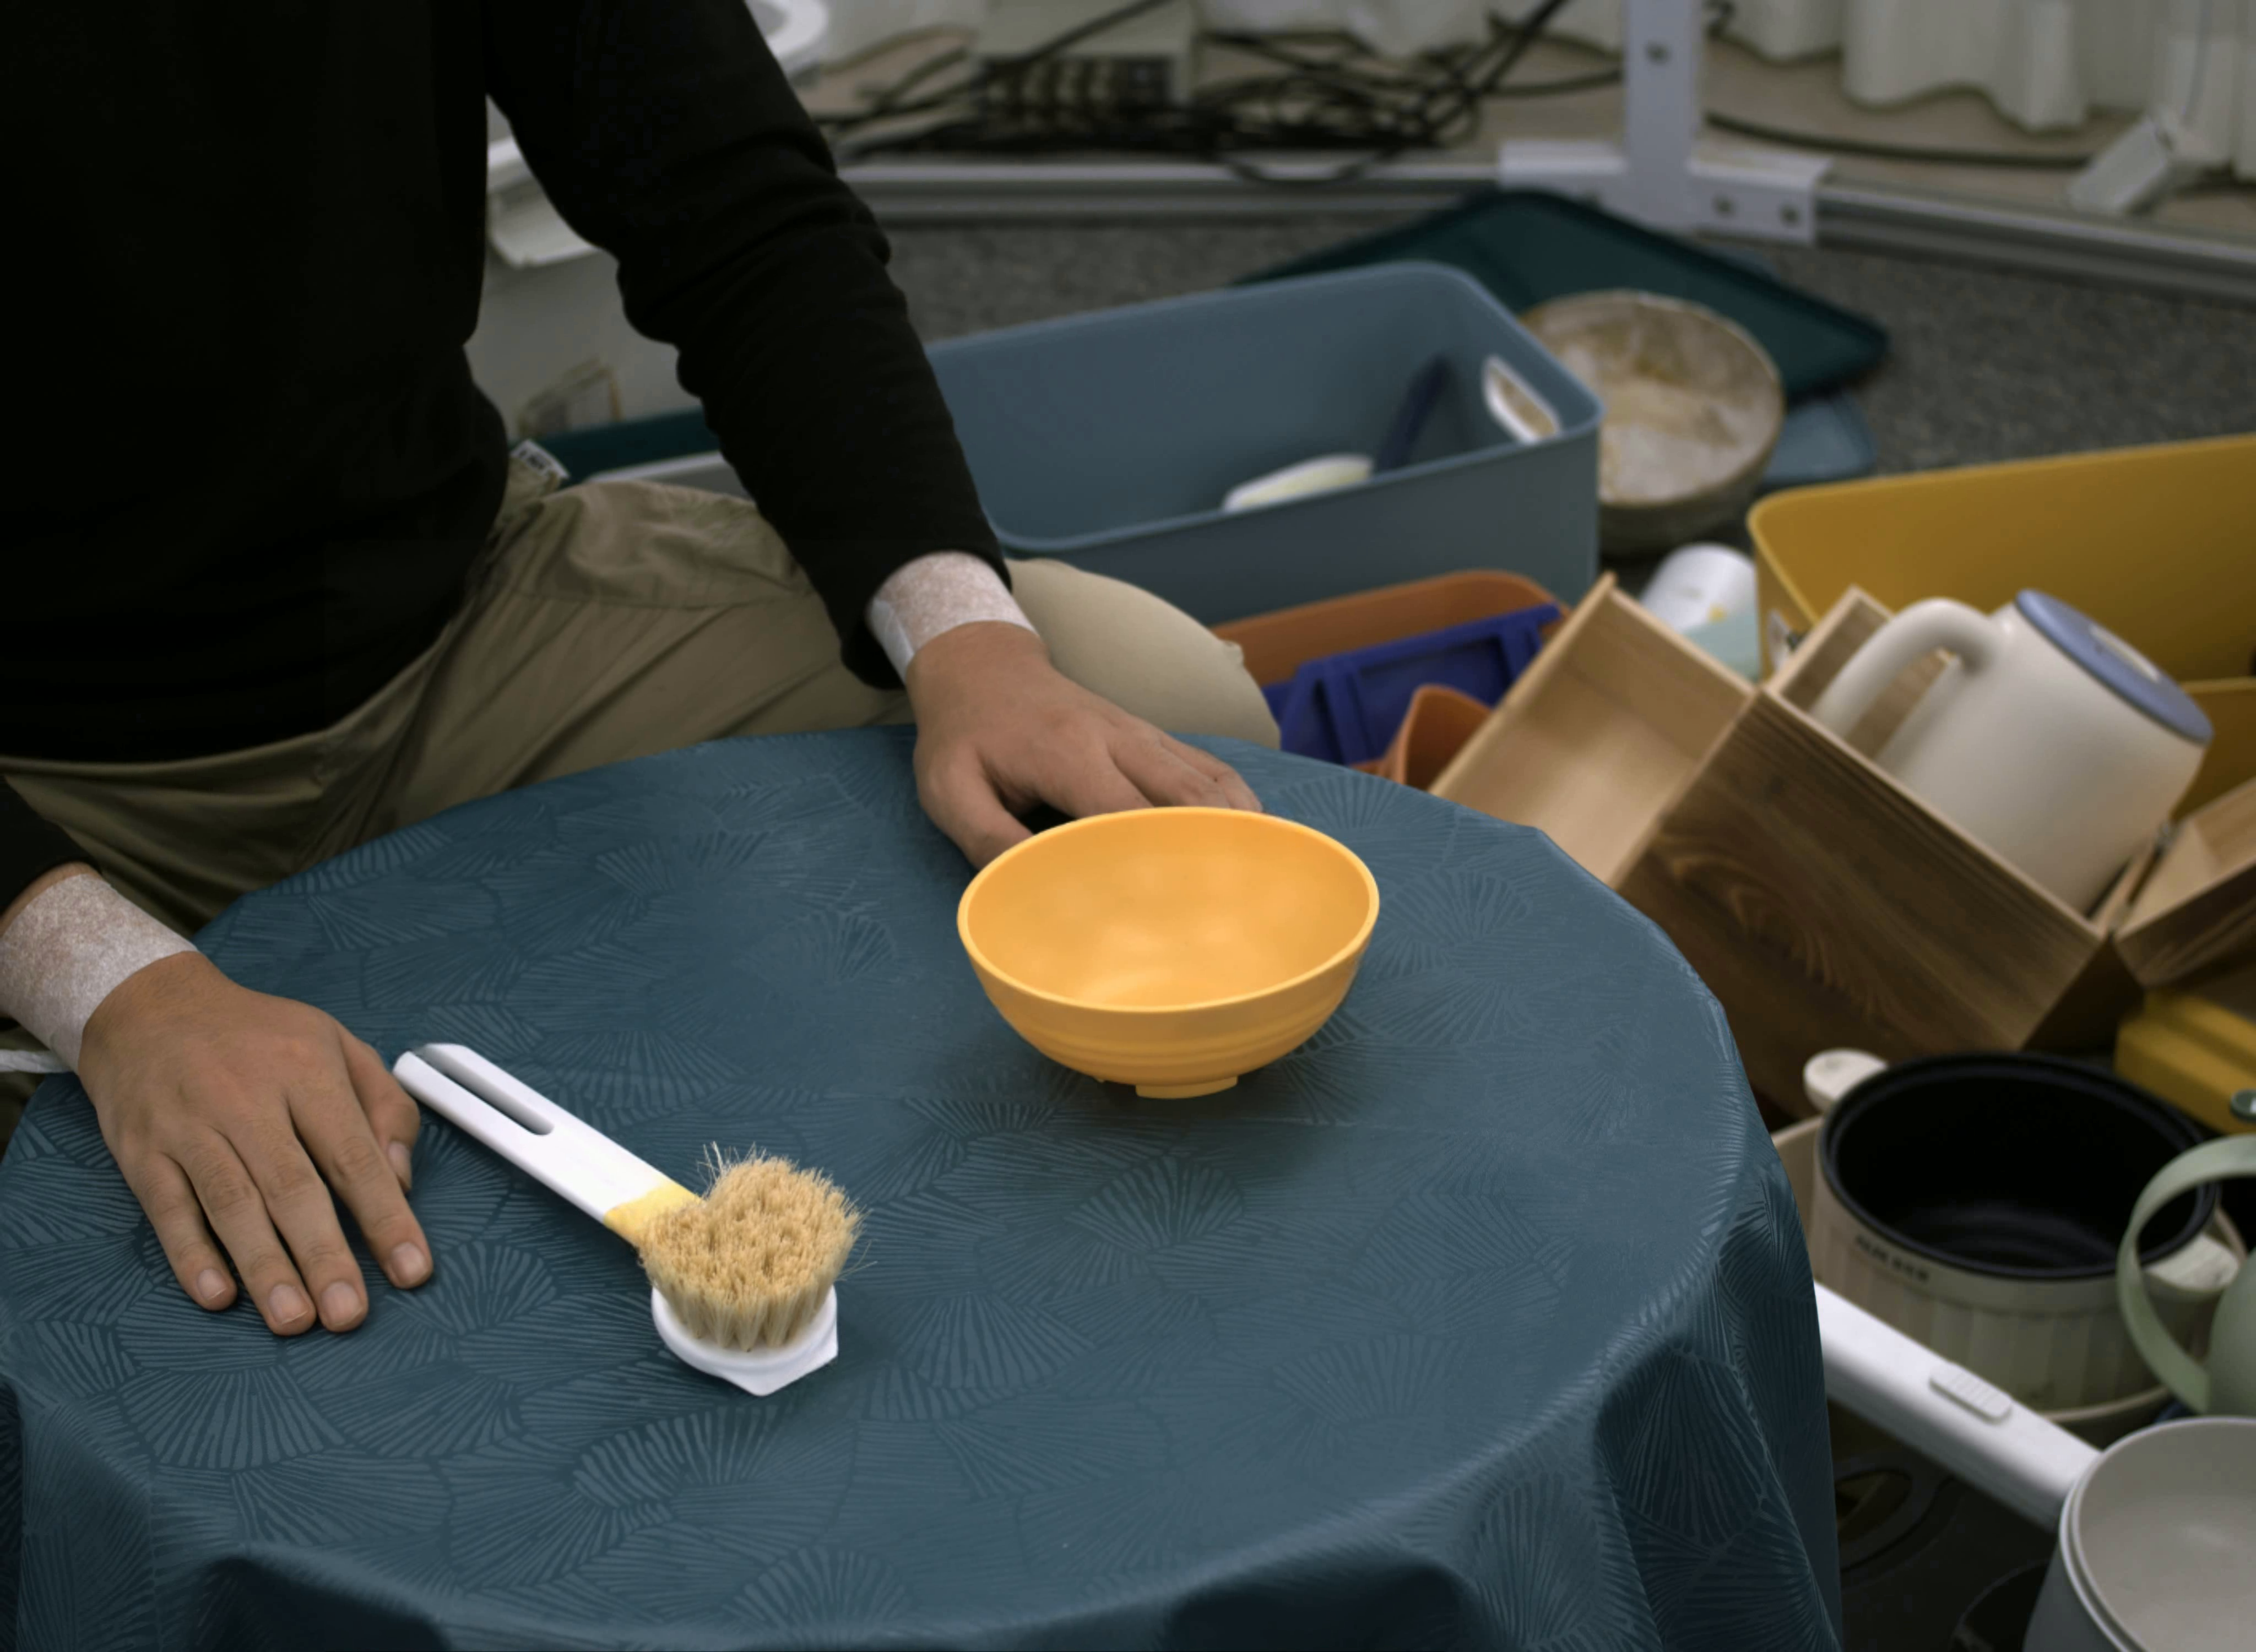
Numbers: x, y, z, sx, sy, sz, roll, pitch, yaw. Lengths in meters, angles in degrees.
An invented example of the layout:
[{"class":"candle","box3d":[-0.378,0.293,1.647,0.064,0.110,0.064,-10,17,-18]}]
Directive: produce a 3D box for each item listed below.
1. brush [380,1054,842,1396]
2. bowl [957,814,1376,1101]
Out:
[{"class":"brush","box3d":[-0.180,0.108,1.847,0.069,0.055,0.267,-14,28,-30]},{"class":"bowl","box3d":[0.014,0.053,1.929,0.144,0.059,0.147,-2,26,1]}]
